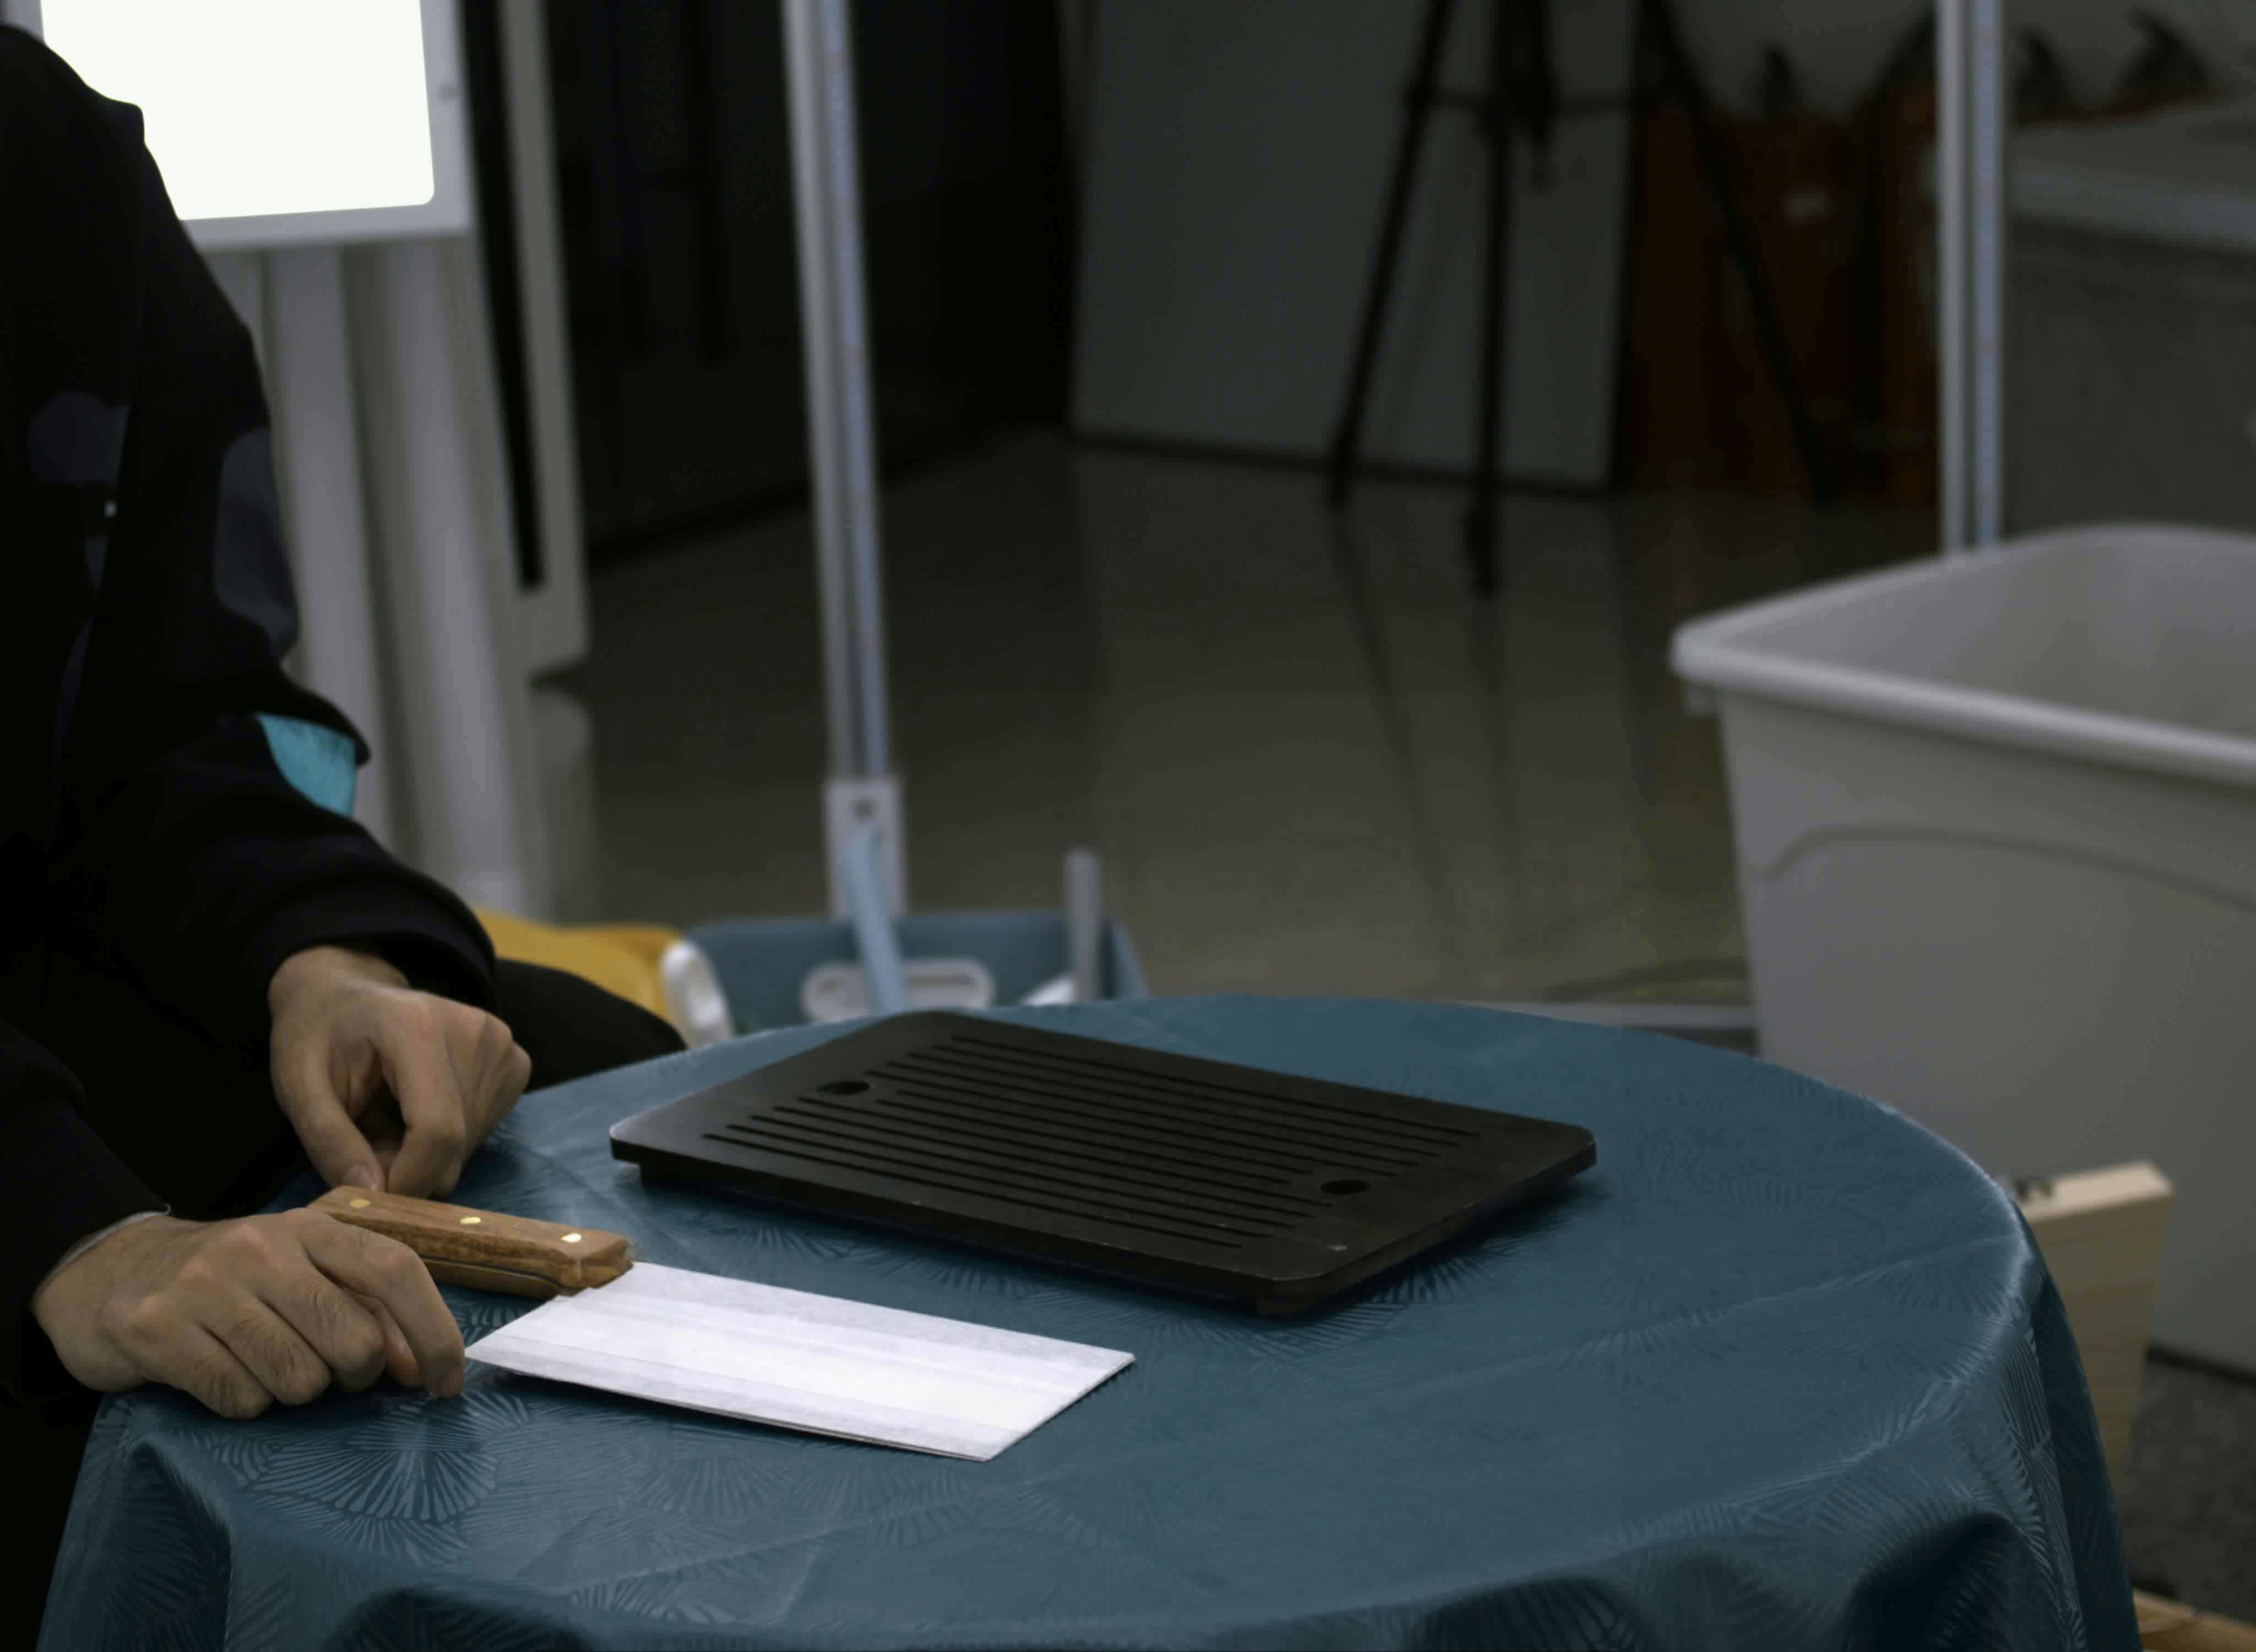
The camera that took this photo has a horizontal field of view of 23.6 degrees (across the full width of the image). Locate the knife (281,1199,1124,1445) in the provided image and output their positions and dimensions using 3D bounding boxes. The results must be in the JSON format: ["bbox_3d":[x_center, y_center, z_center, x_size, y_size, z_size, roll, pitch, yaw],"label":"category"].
[{"bbox_3d":[-0.148,0.154,1.651,0.307,0.021,0.091,7,19,31],"label":"knife"}]

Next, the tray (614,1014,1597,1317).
[{"bbox_3d":[-0.010,0.109,1.783,0.308,0.019,0.167,8,19,40],"label":"tray"}]
